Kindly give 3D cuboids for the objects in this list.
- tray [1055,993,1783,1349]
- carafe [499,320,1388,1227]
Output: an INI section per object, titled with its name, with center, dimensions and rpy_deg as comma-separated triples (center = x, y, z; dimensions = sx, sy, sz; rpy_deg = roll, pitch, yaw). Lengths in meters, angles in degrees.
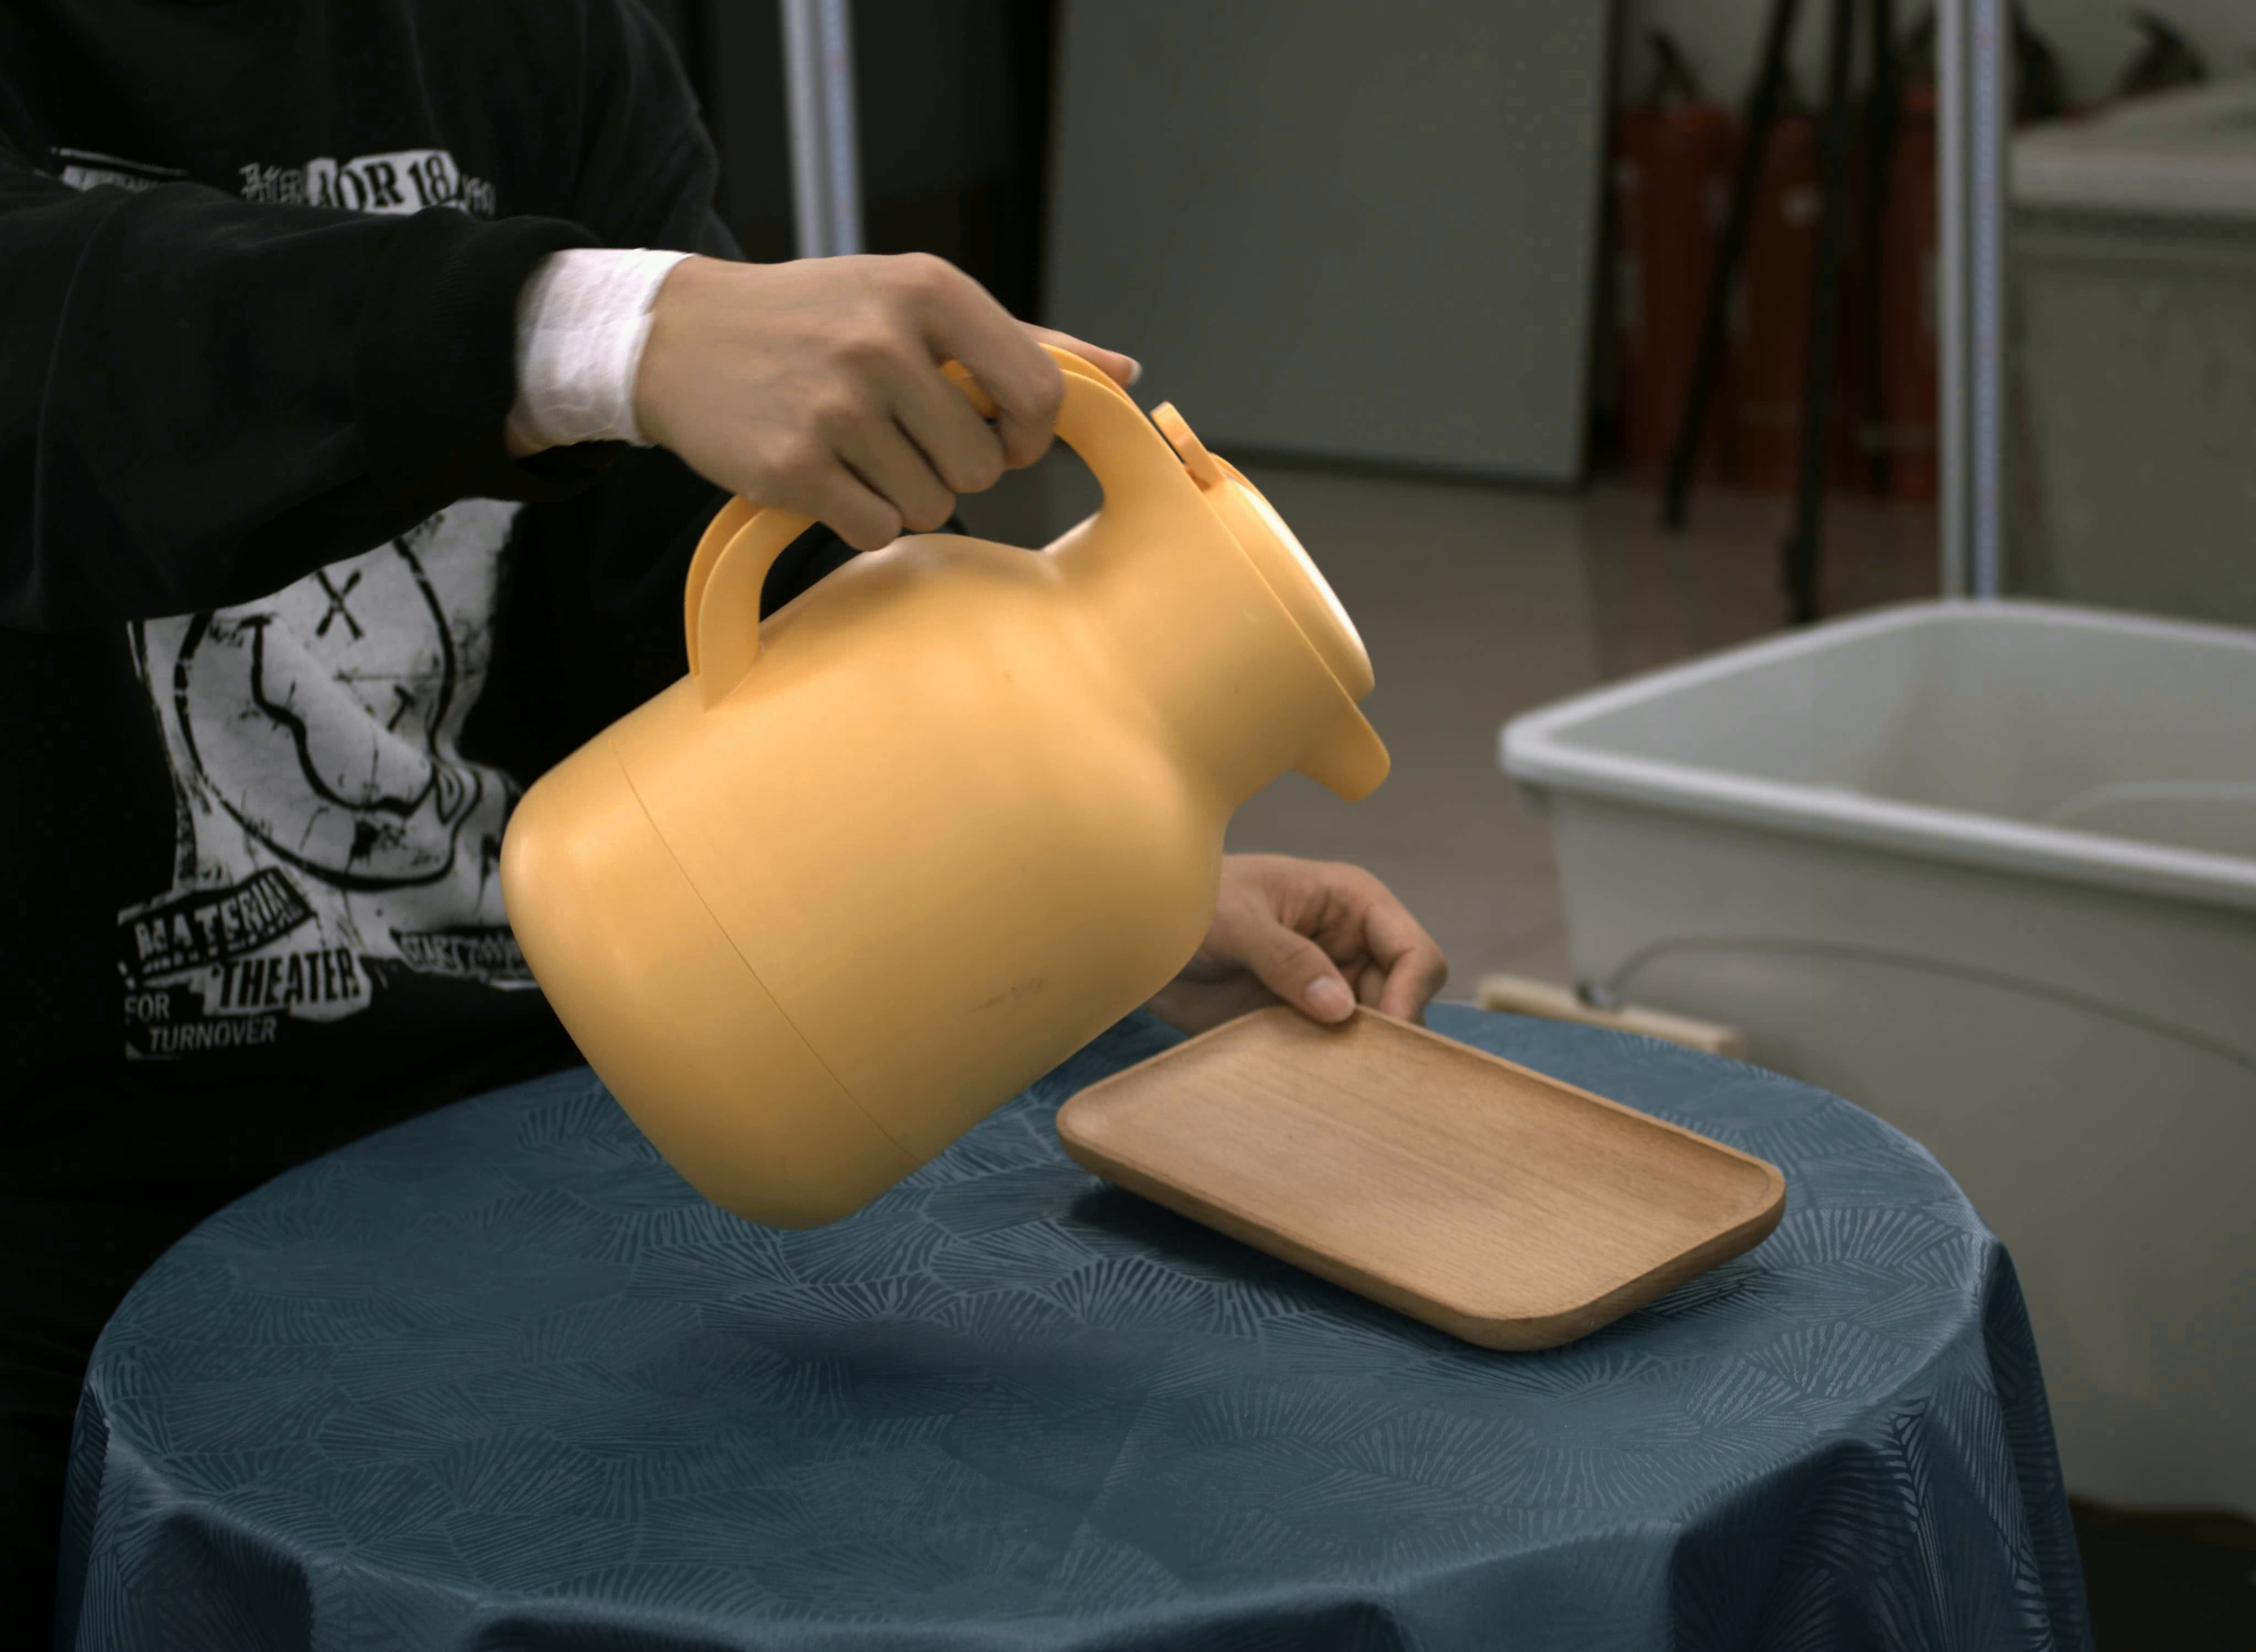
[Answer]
[tray]
center = 0.089, 0.107, 1.709
dimensions = 0.128, 0.023, 0.253
rpy_deg = -21, 23, -31
[carafe]
center = -0.061, -0.023, 1.609
dimensions = 0.259, 0.201, 0.164
rpy_deg = -35, 22, 1
